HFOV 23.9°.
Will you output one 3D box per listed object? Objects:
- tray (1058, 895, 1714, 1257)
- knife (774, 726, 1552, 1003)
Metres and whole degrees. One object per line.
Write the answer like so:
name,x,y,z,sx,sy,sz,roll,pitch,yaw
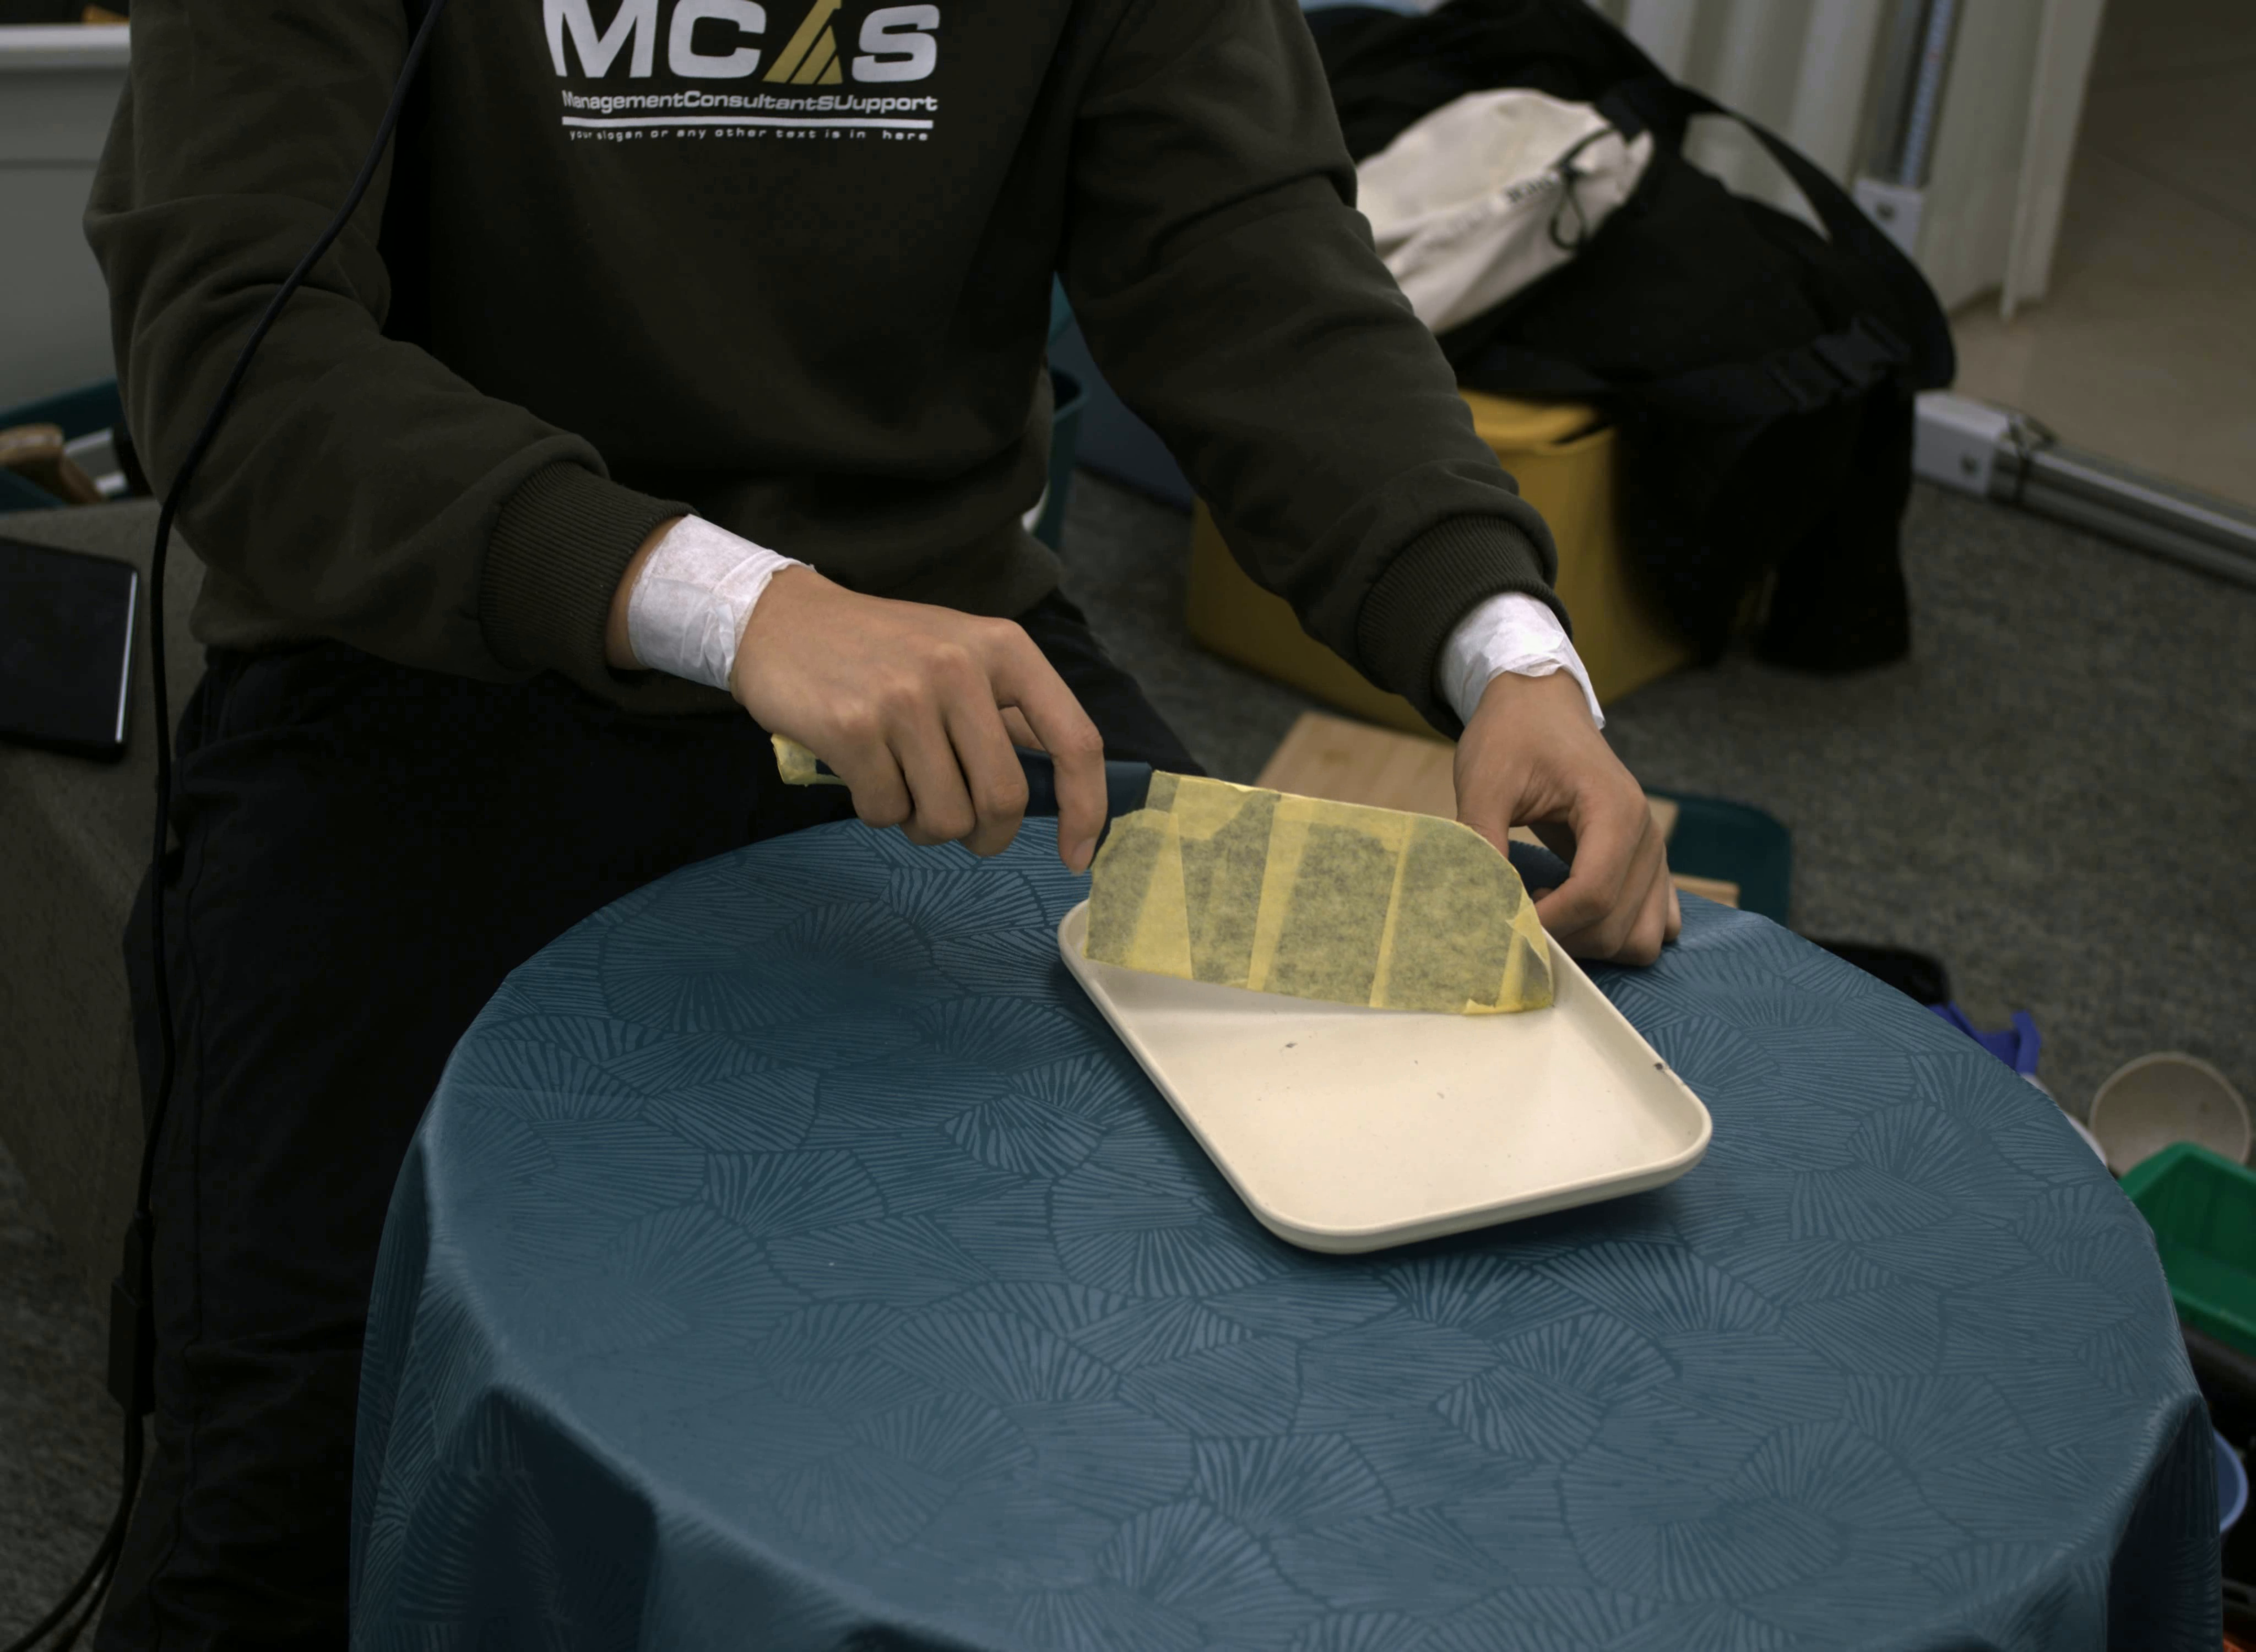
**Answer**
tray,0.088,0.076,1.883,0.170,0.017,0.242,-11,31,-18
knife,0.012,0.014,1.899,0.288,0.081,0.027,12,5,-3
